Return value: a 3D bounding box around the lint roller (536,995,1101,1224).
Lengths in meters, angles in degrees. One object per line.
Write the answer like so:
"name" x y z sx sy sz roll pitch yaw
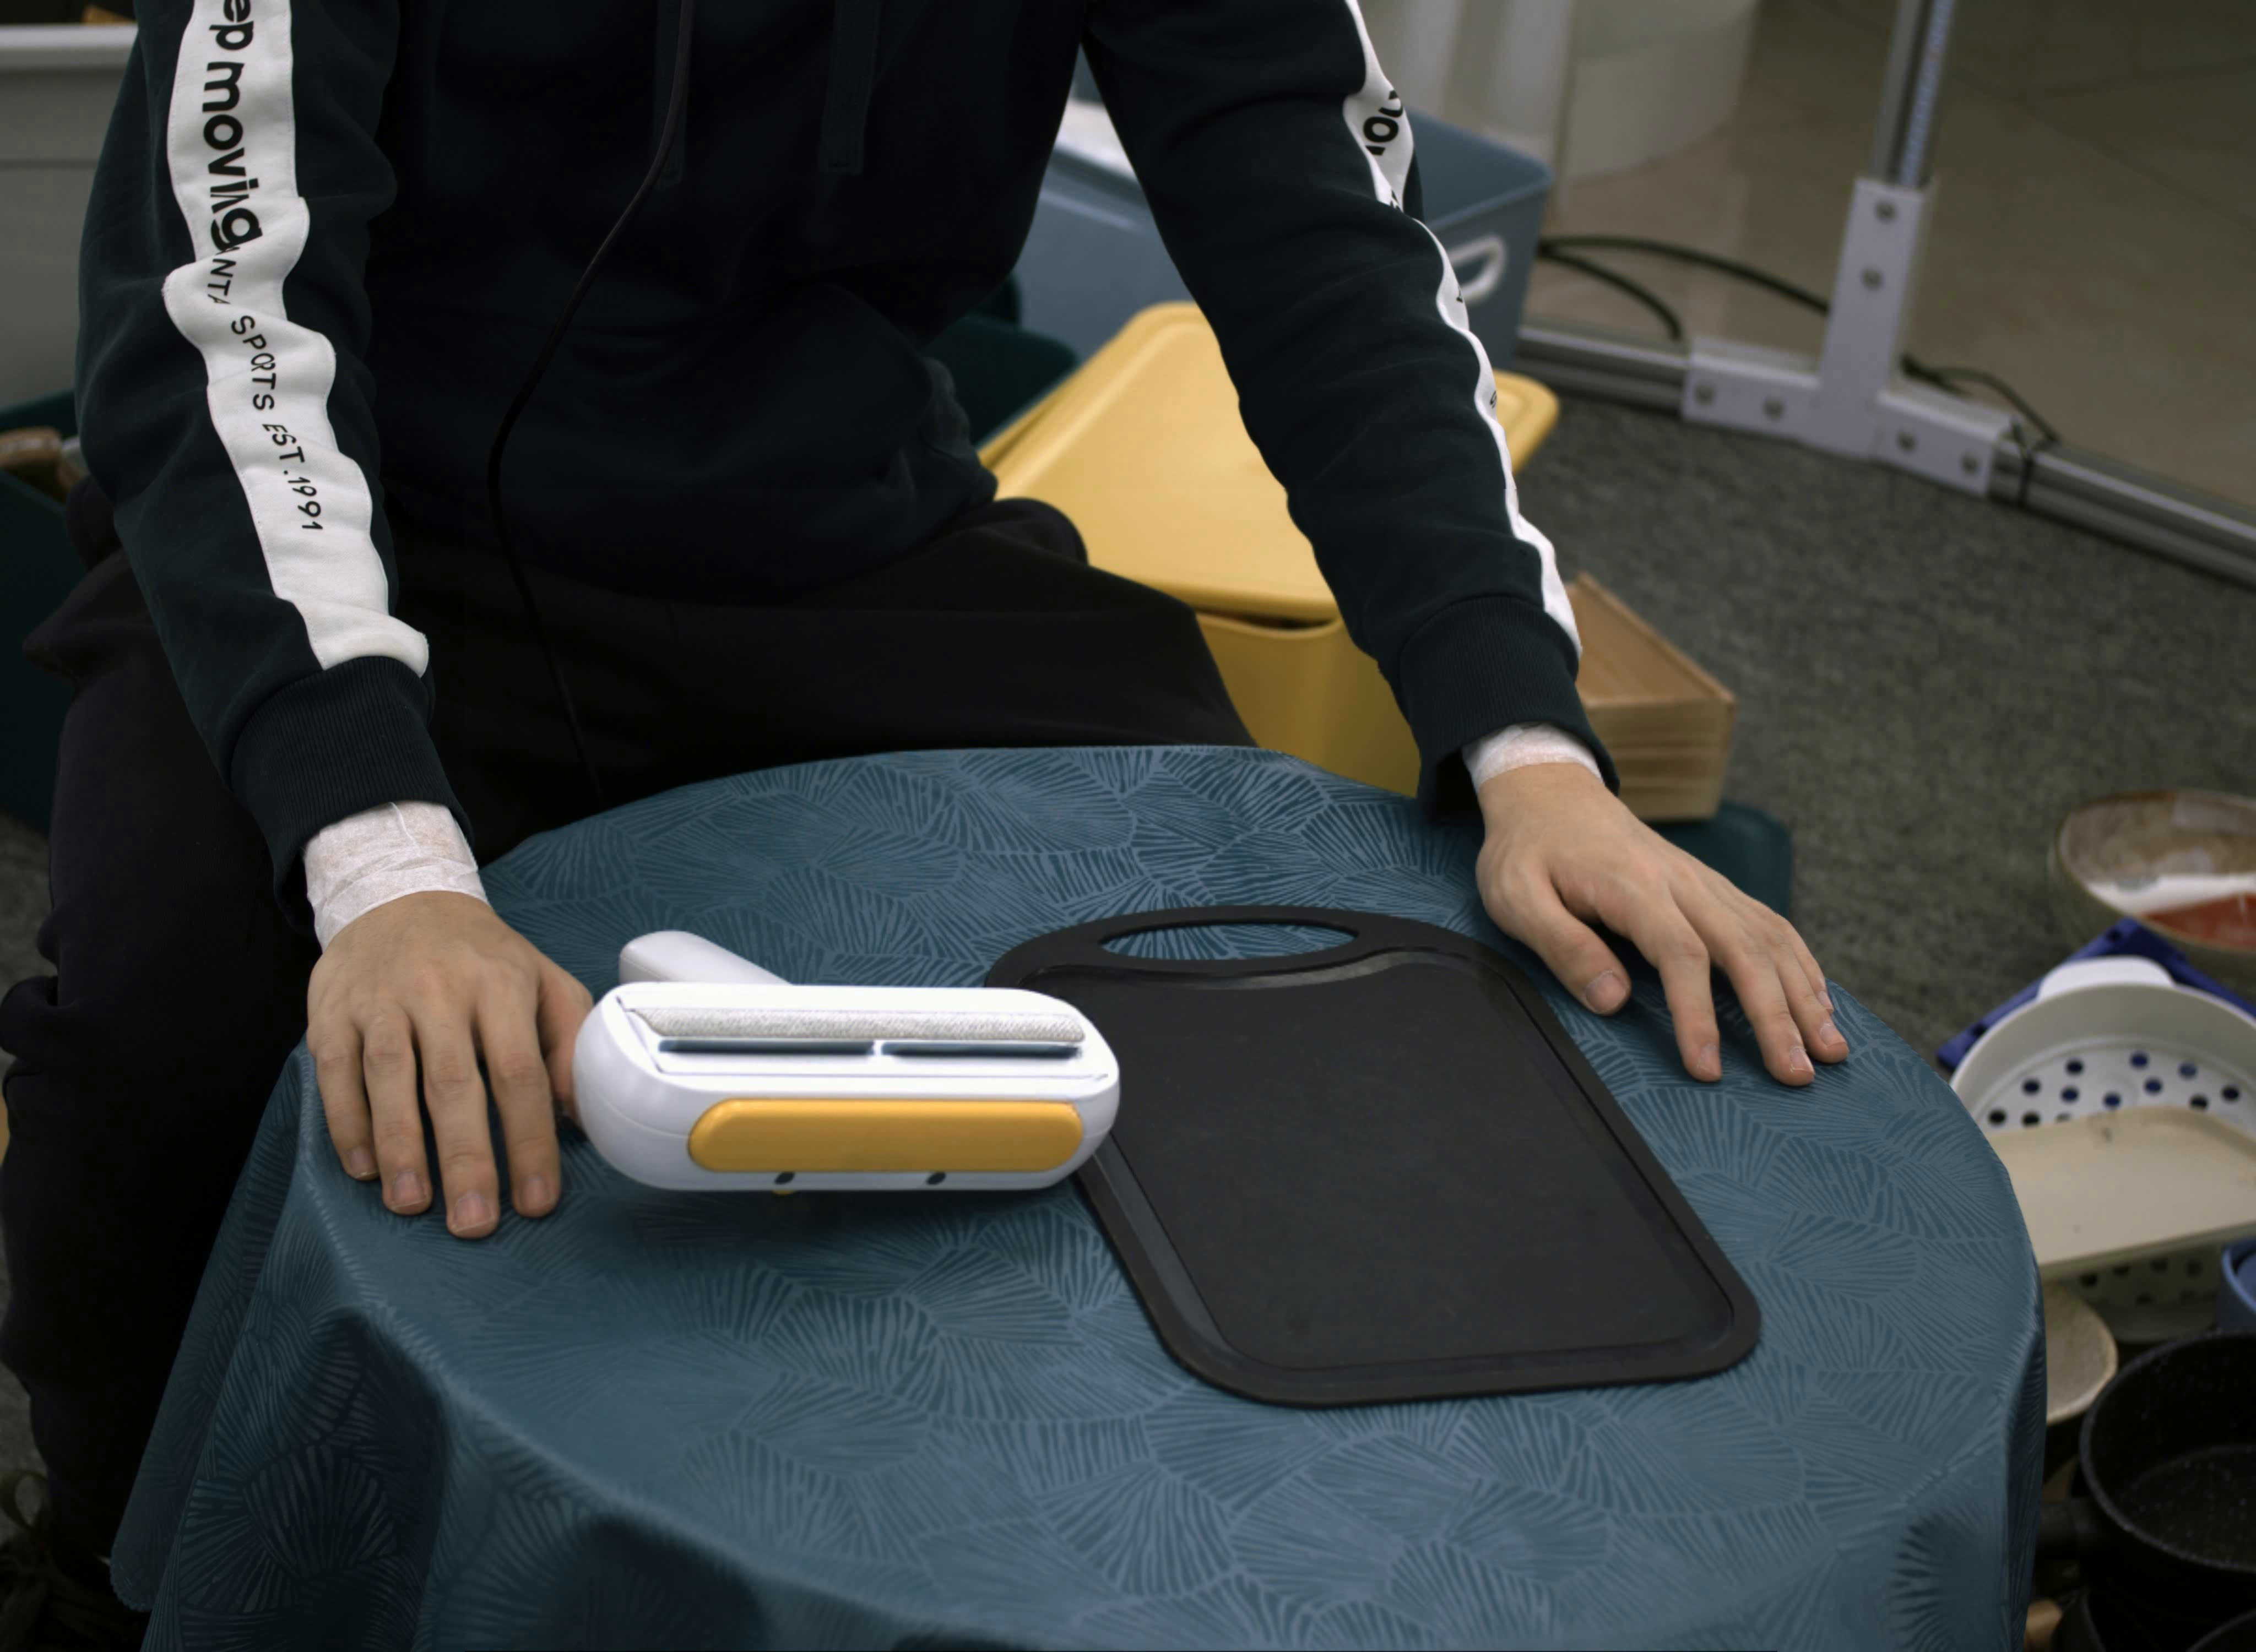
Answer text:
"lint roller" -0.125 0.085 1.811 0.191 0.074 0.194 2 12 -24

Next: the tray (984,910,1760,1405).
"tray" 0.075 0.106 1.843 0.210 0.010 0.328 -2 28 -17
